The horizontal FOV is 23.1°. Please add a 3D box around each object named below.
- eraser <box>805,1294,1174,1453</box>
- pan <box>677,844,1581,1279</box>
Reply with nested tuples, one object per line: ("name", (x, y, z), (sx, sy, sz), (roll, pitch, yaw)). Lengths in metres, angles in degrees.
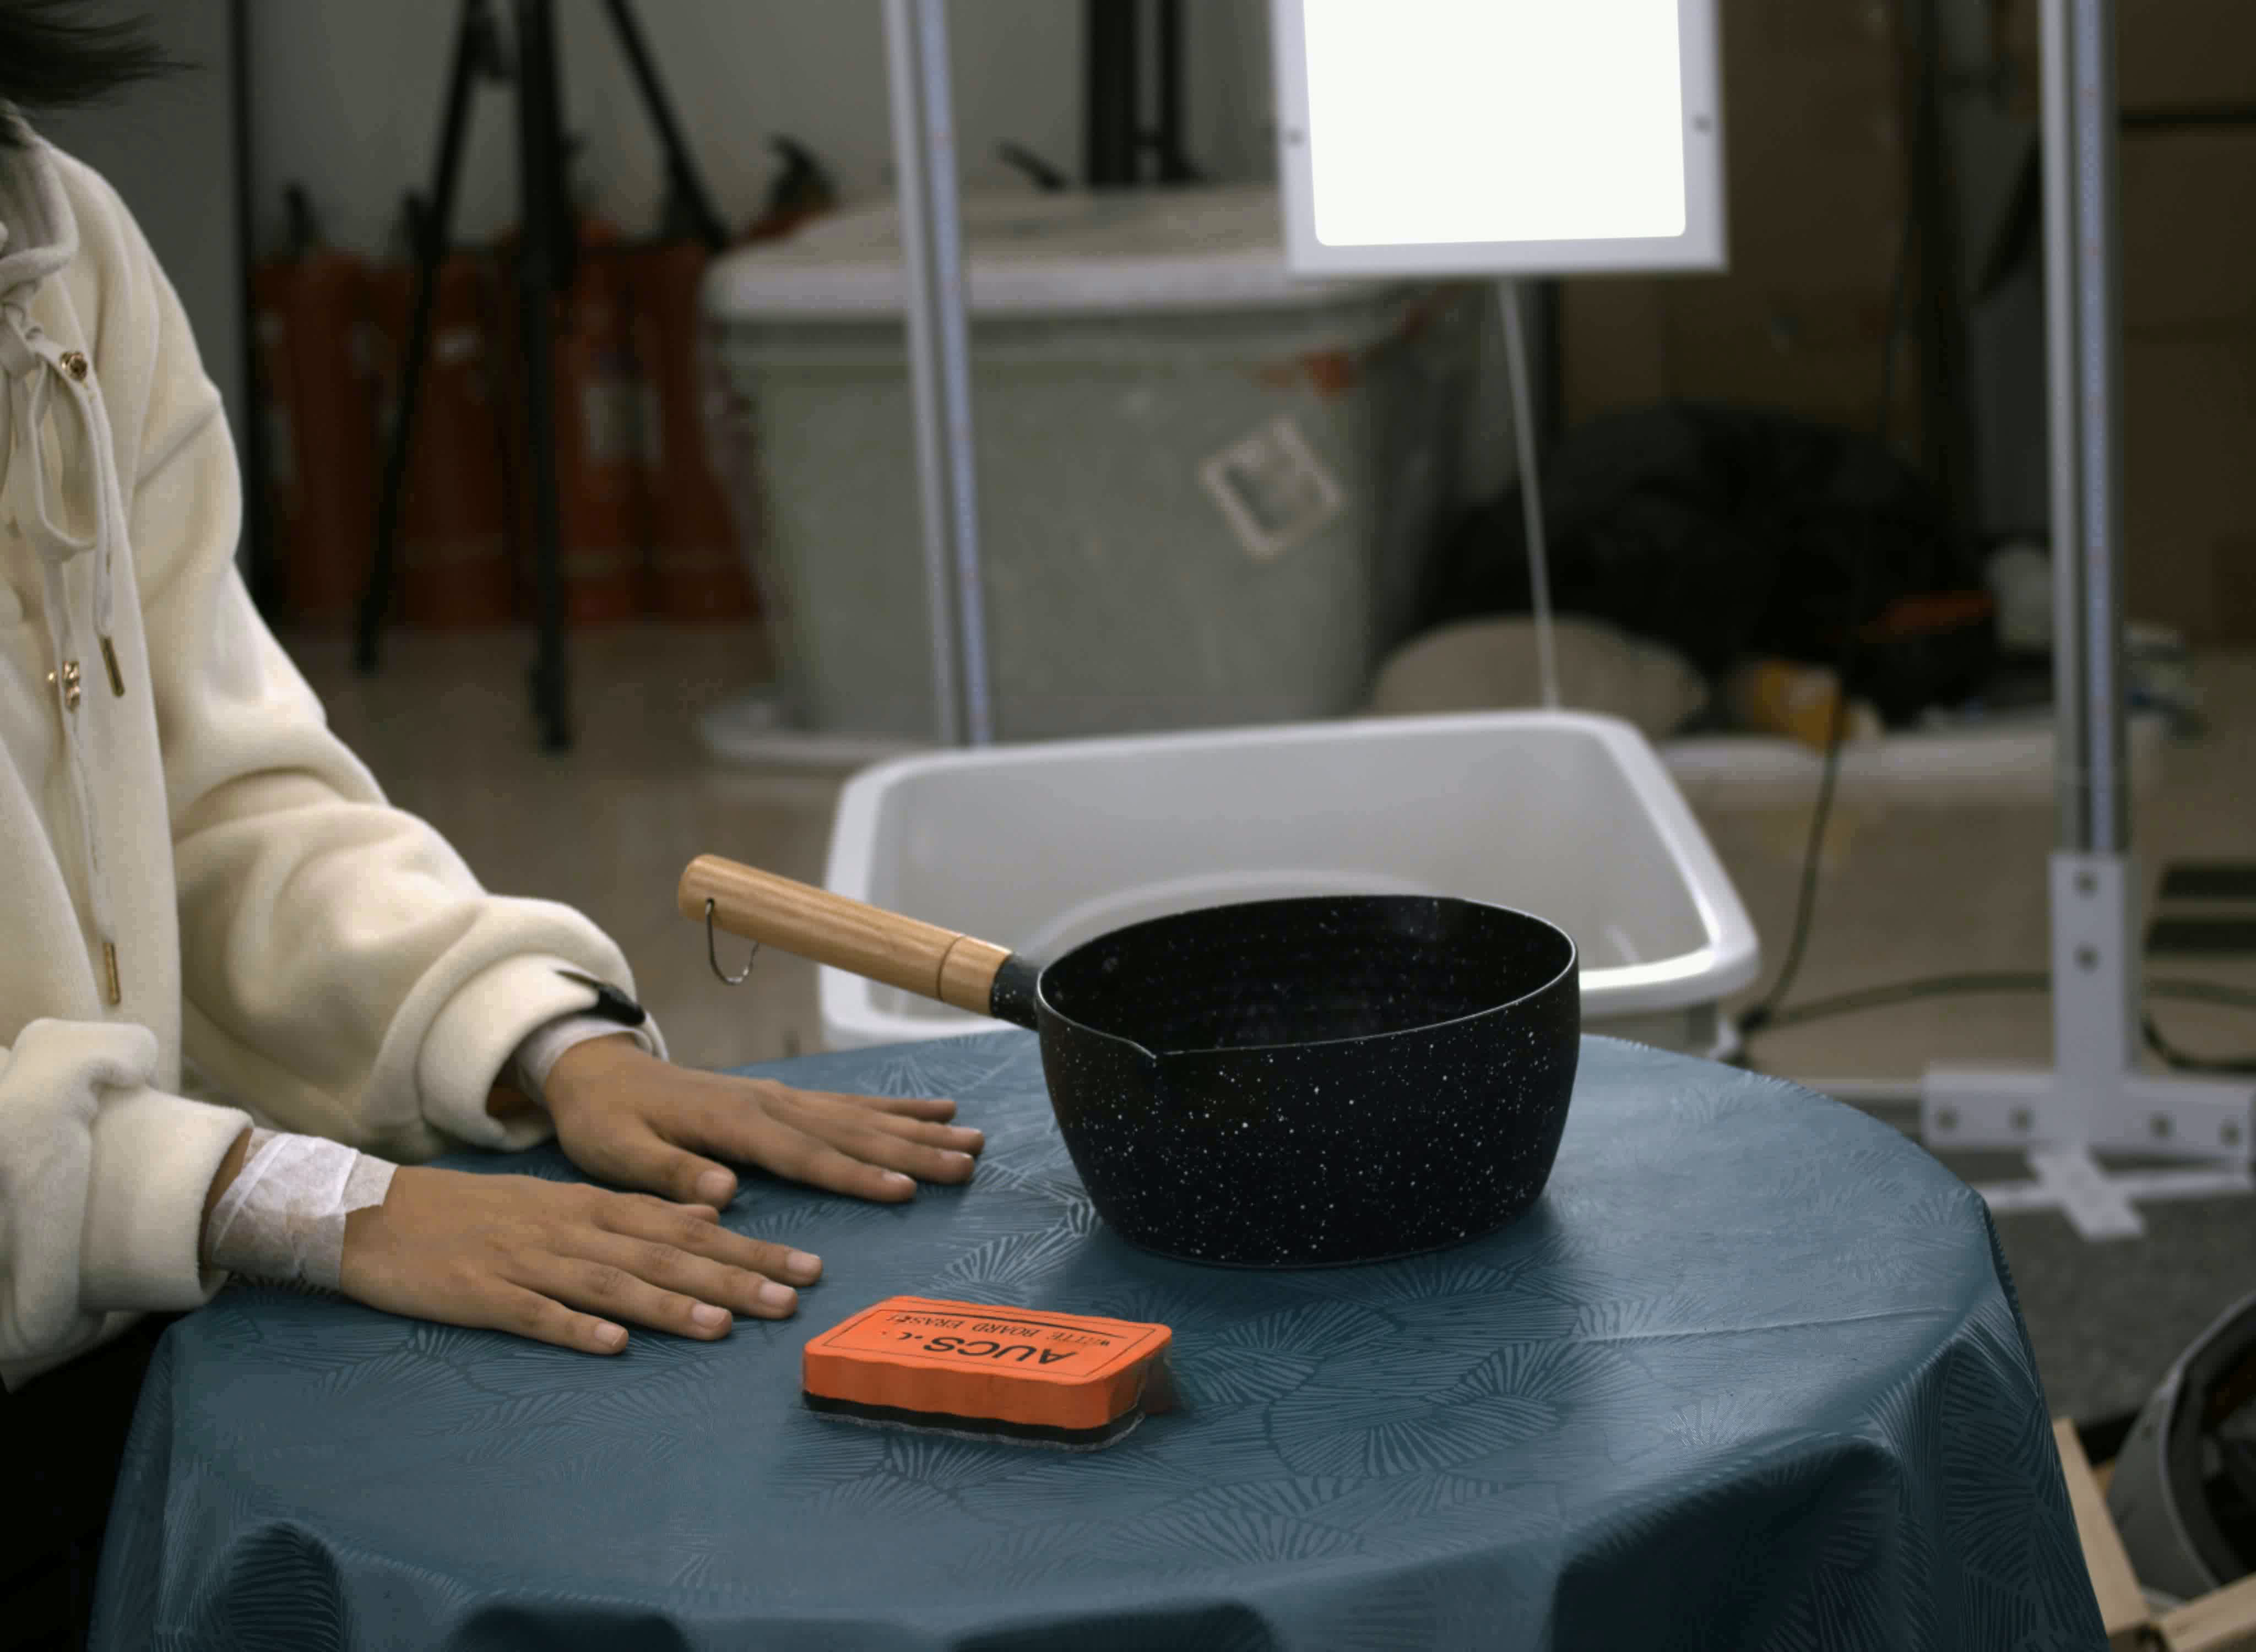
("eraser", (-0.042, 0.168, 1.696), (0.110, 0.023, 0.057), (4, 17, 33))
("pan", (-0.008, 0.072, 1.896), (0.349, 0.108, 0.203), (5, 18, 29))
